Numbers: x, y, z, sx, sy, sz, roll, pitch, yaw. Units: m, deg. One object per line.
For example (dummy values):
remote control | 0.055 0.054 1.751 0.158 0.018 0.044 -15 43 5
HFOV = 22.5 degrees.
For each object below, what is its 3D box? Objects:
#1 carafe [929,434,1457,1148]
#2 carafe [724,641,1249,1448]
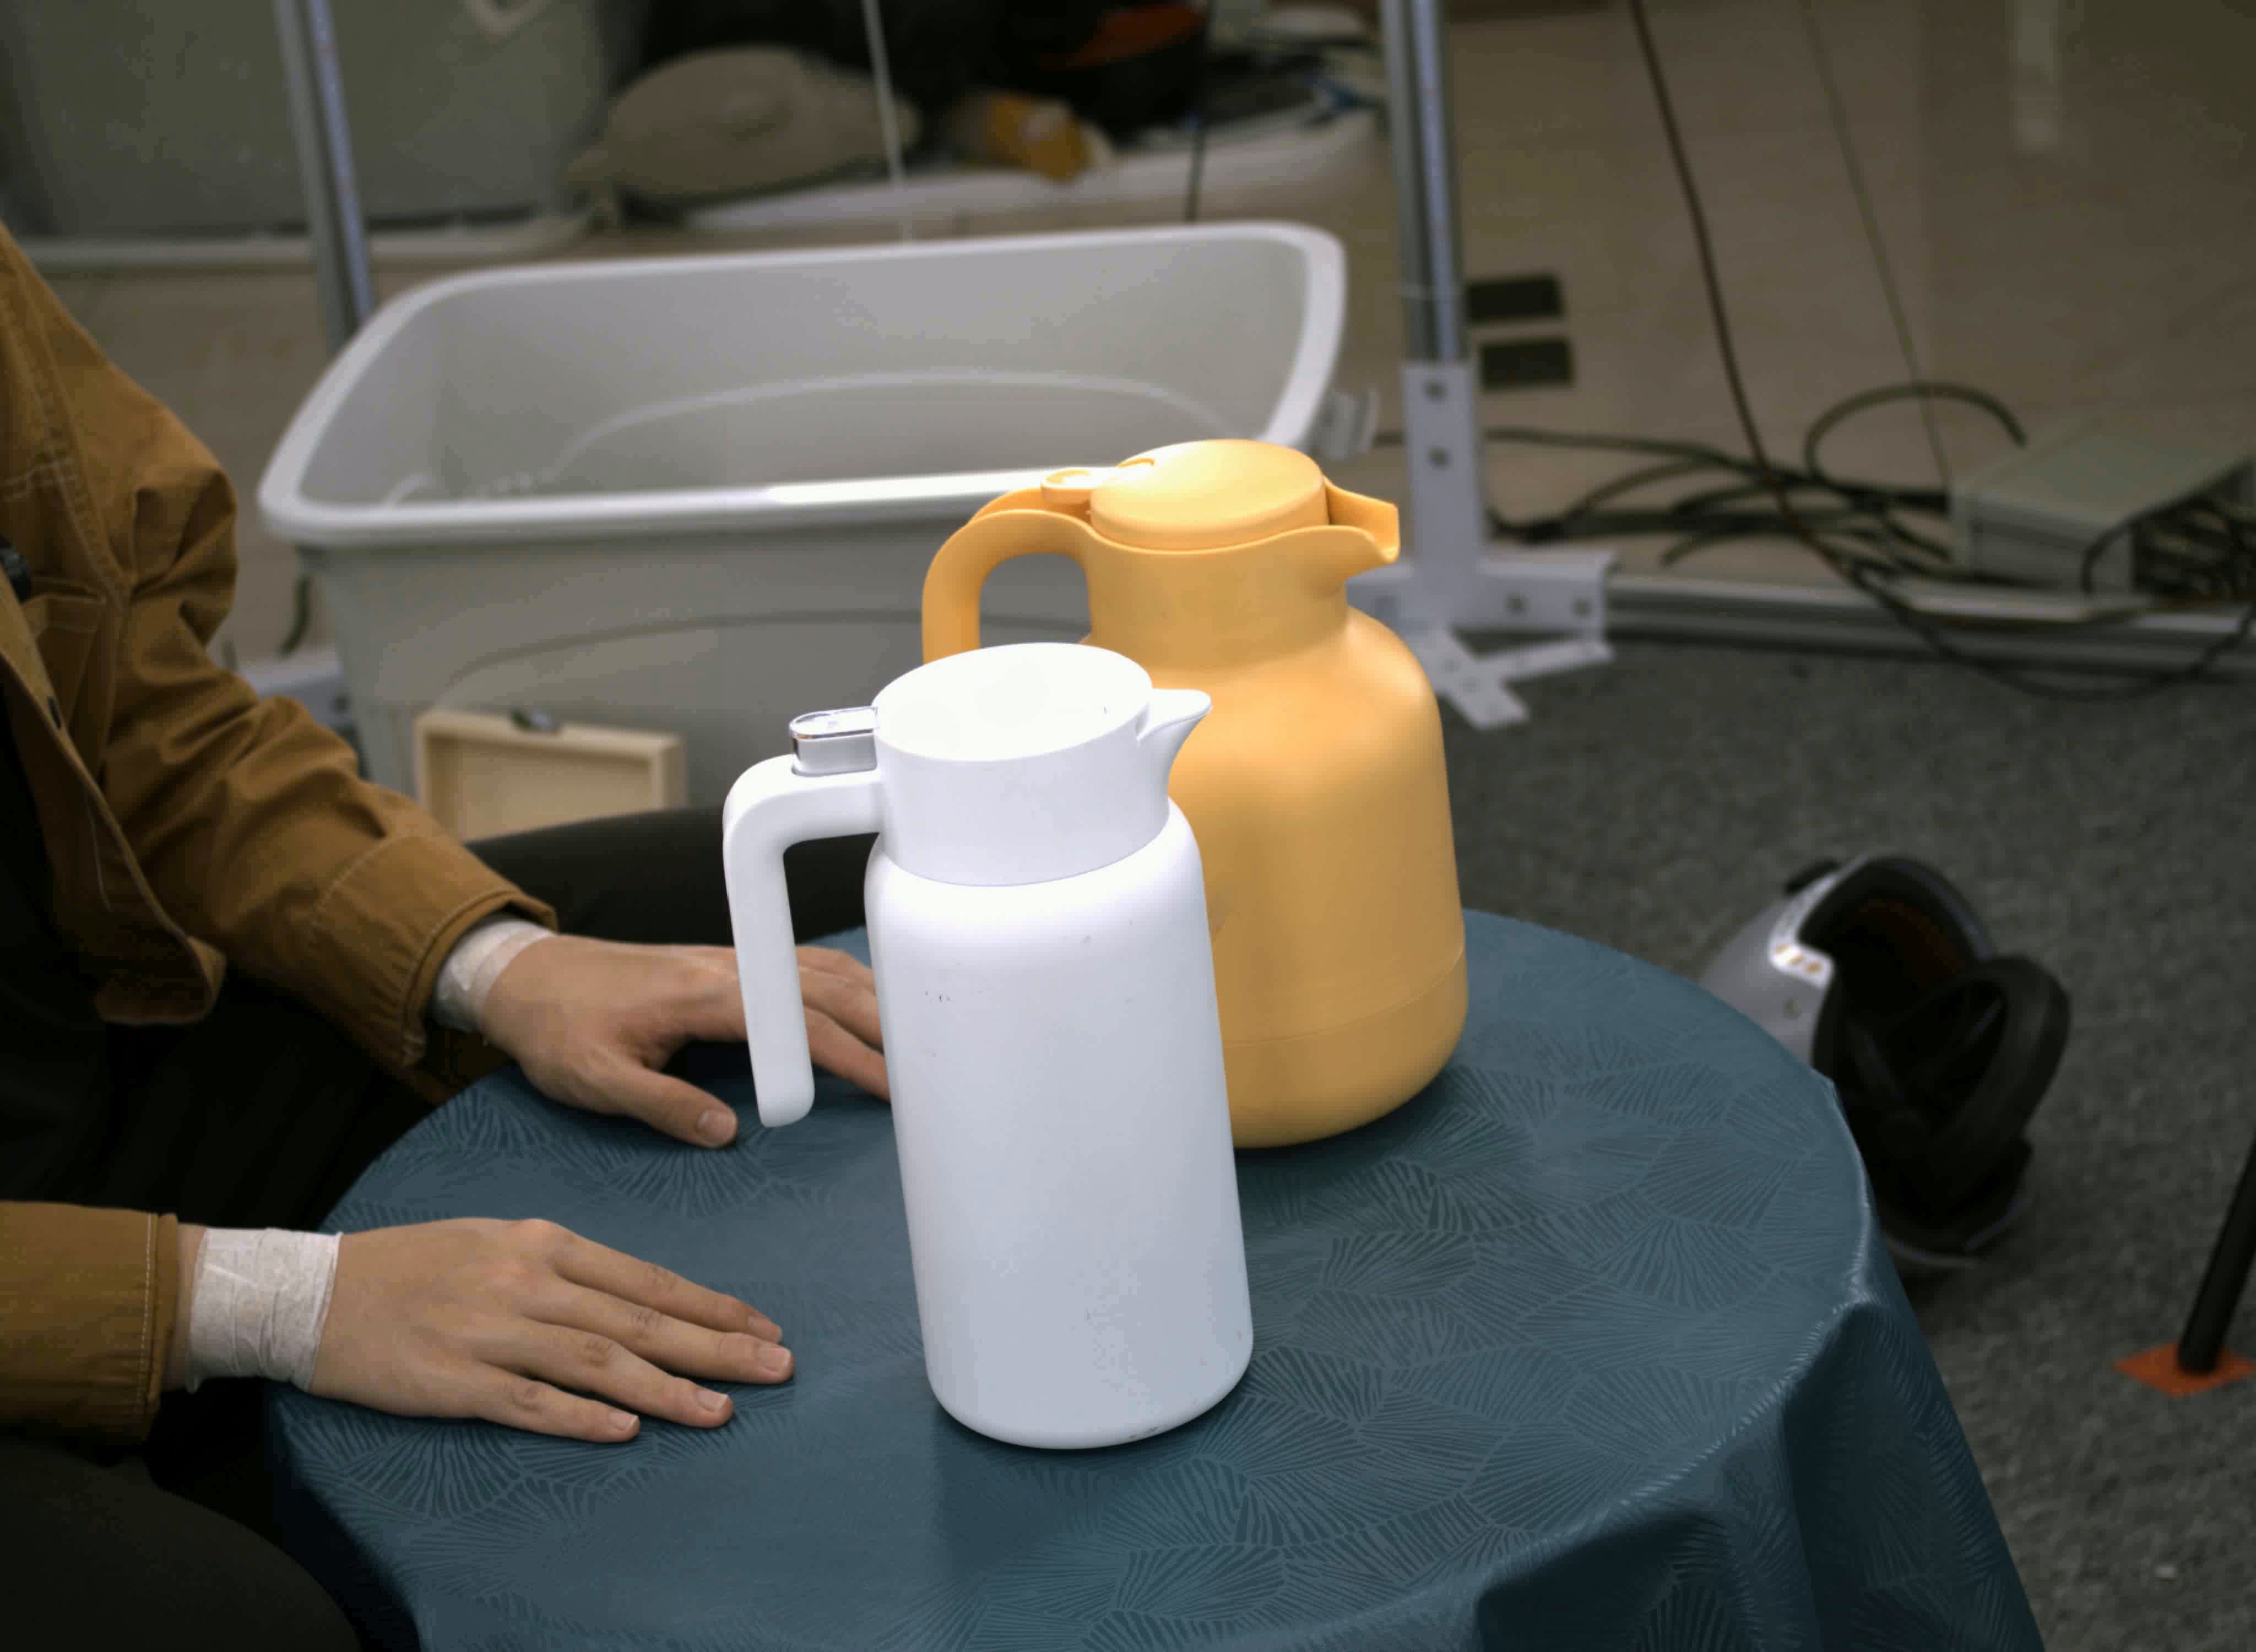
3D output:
carafe | 0.024 -0.020 2.169 0.201 0.264 0.161 8 26 24
carafe | -0.044 0.079 1.968 0.172 0.273 0.122 -7 28 -2
